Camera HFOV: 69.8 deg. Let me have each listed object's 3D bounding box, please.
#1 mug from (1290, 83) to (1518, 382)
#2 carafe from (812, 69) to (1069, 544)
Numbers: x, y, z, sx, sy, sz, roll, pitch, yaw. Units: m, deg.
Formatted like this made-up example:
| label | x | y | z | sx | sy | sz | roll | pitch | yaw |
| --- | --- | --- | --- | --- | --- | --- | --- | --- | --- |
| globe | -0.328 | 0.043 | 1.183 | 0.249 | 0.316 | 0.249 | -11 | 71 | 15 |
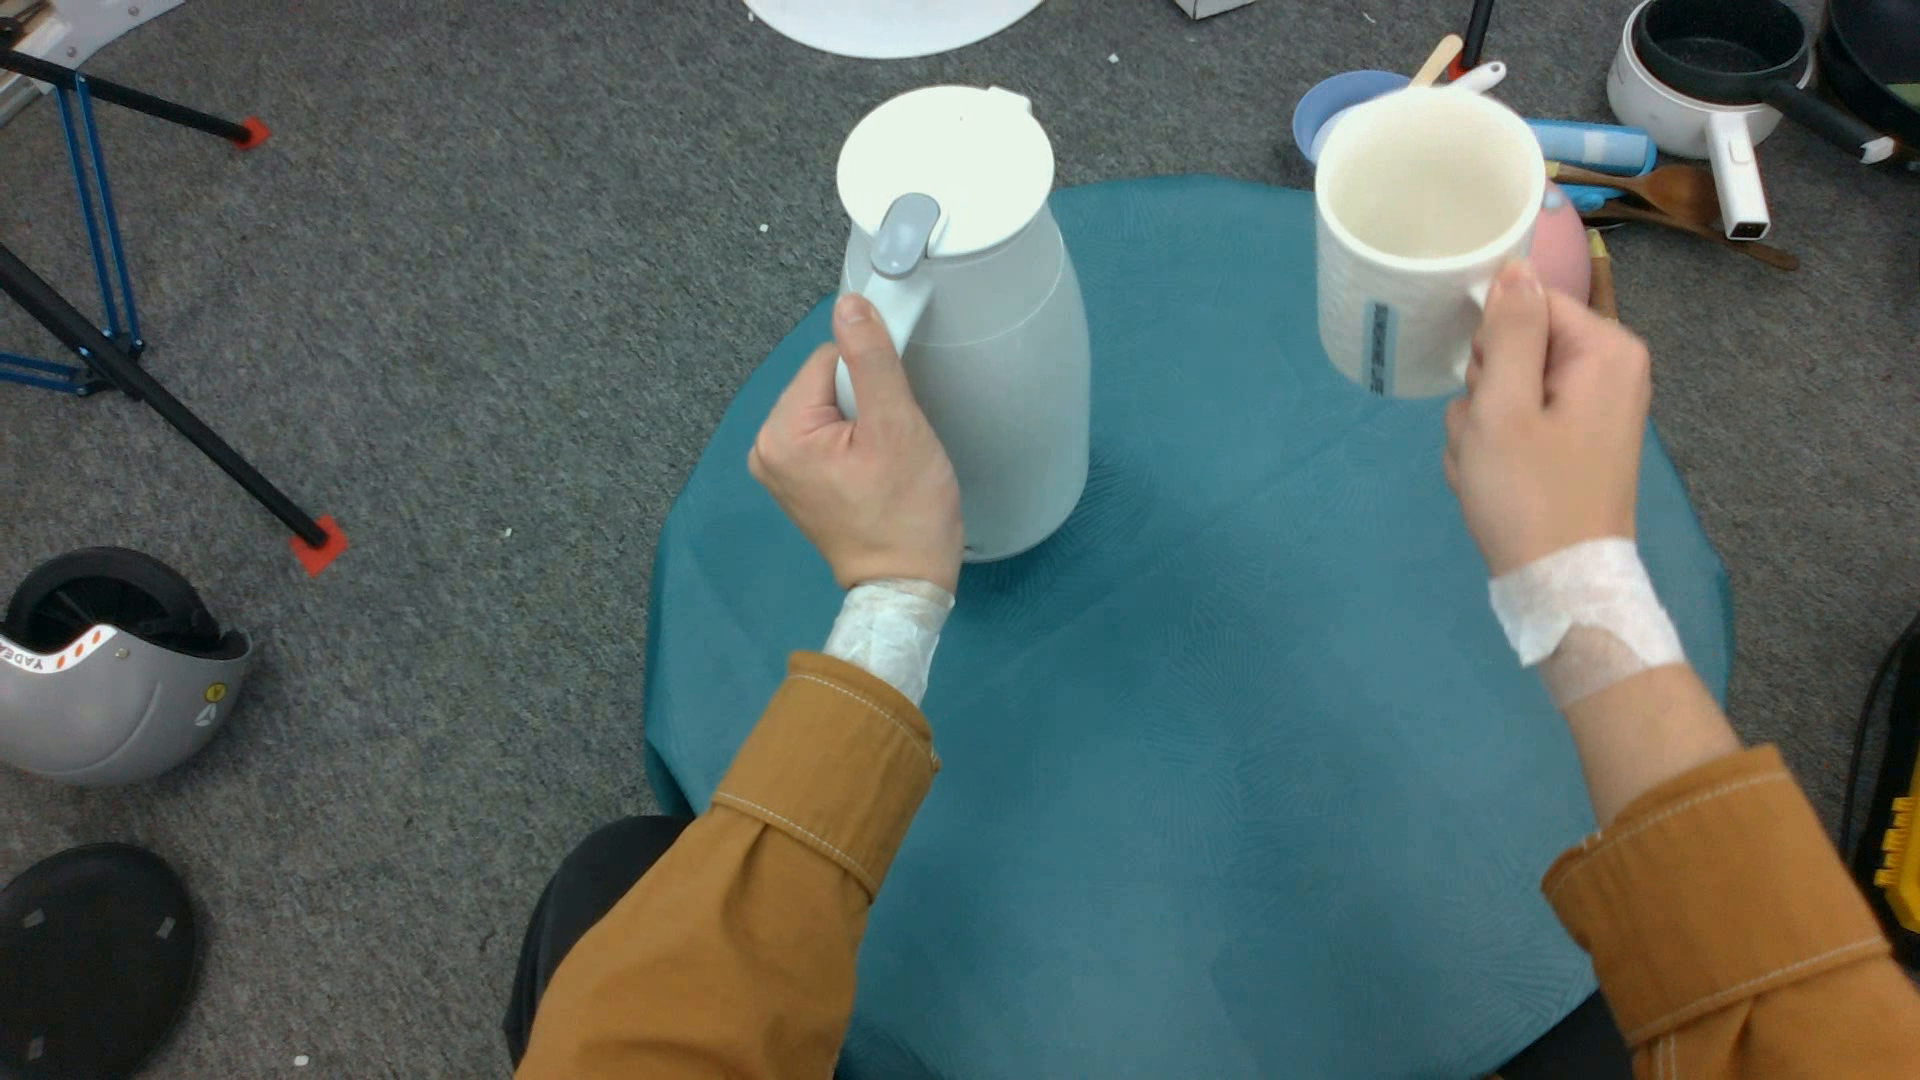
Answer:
| label | x | y | z | sx | sy | sz | roll | pitch | yaw |
| --- | --- | --- | --- | --- | --- | --- | --- | --- | --- |
| mug | 0.193 | -0.117 | 0.586 | 0.085 | 0.101 | 0.118 | -29 | 62 | 0 |
| carafe | -0.017 | -0.095 | 0.672 | 0.132 | 0.247 | 0.168 | 21 | 66 | 12 |
